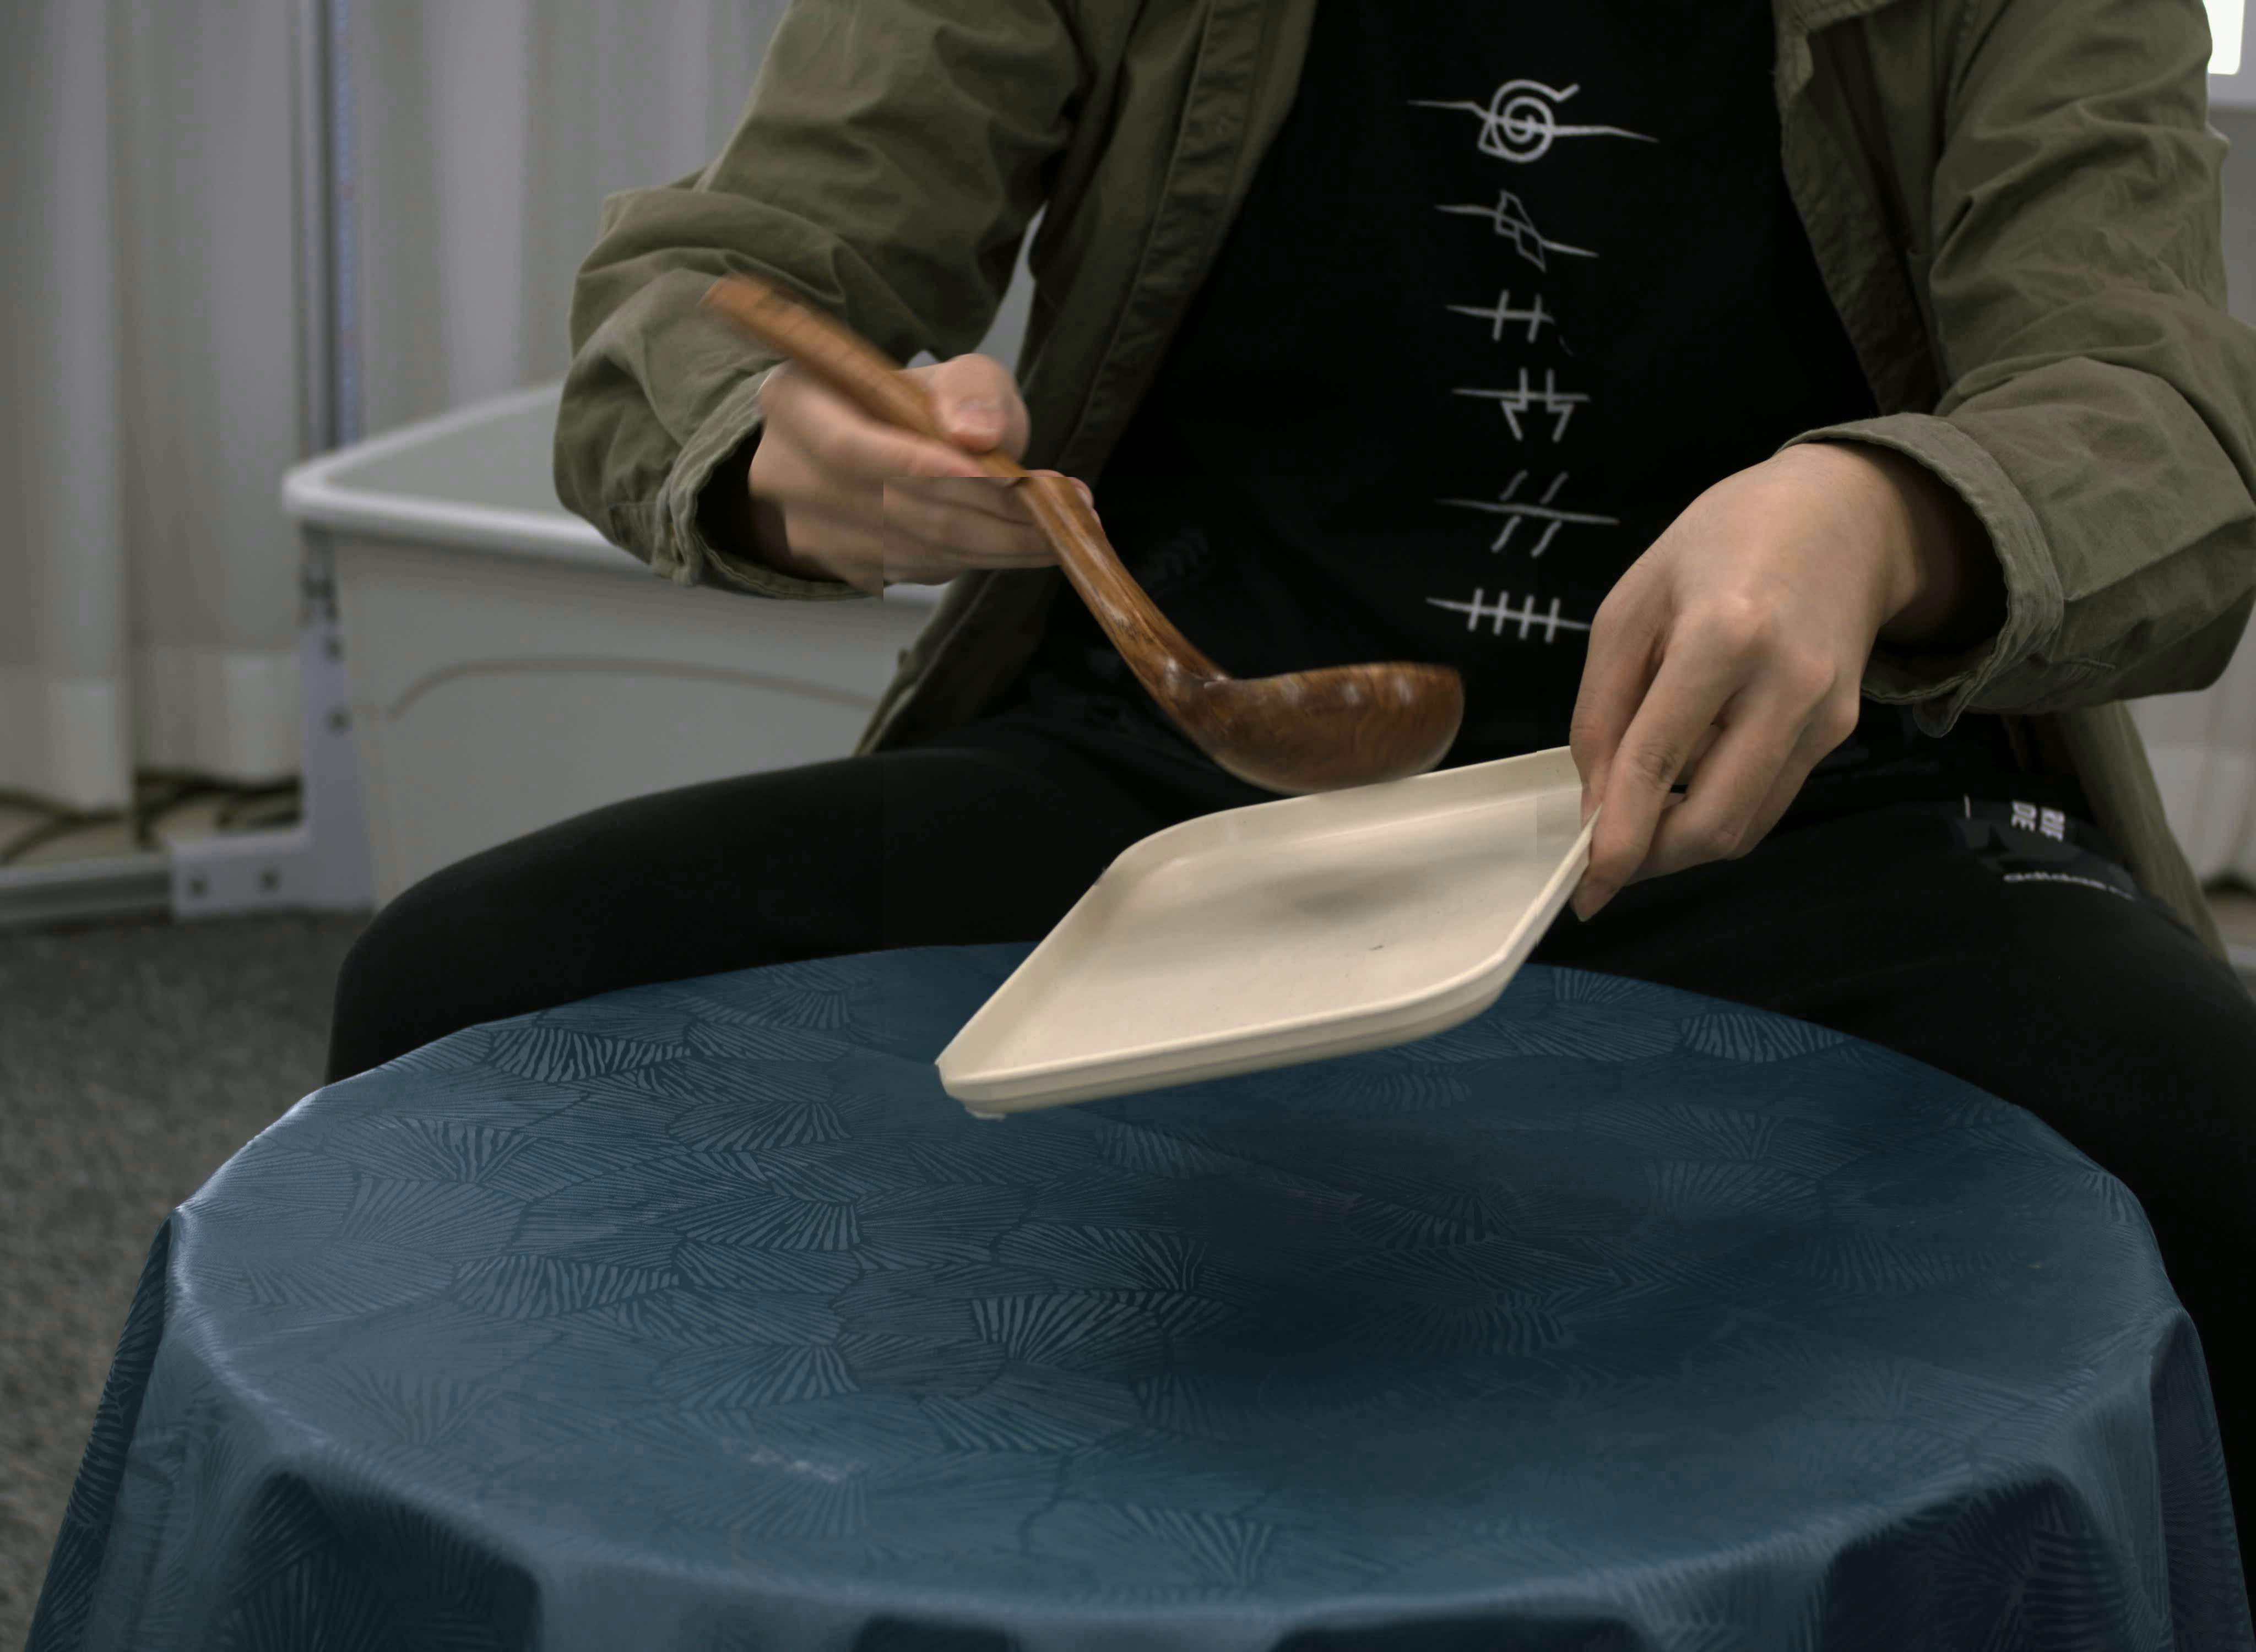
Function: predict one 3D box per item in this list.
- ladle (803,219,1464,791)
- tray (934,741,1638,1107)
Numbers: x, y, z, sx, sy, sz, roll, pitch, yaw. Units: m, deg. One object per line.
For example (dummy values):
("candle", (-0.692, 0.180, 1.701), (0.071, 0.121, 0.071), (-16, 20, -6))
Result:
("ladle", (0.000, -0.110, 1.585), (0.271, 0.076, 0.083), (53, 10, 25))
("tray", (0.051, 0.028, 1.527), (0.170, 0.017, 0.239), (-11, 14, 20))
